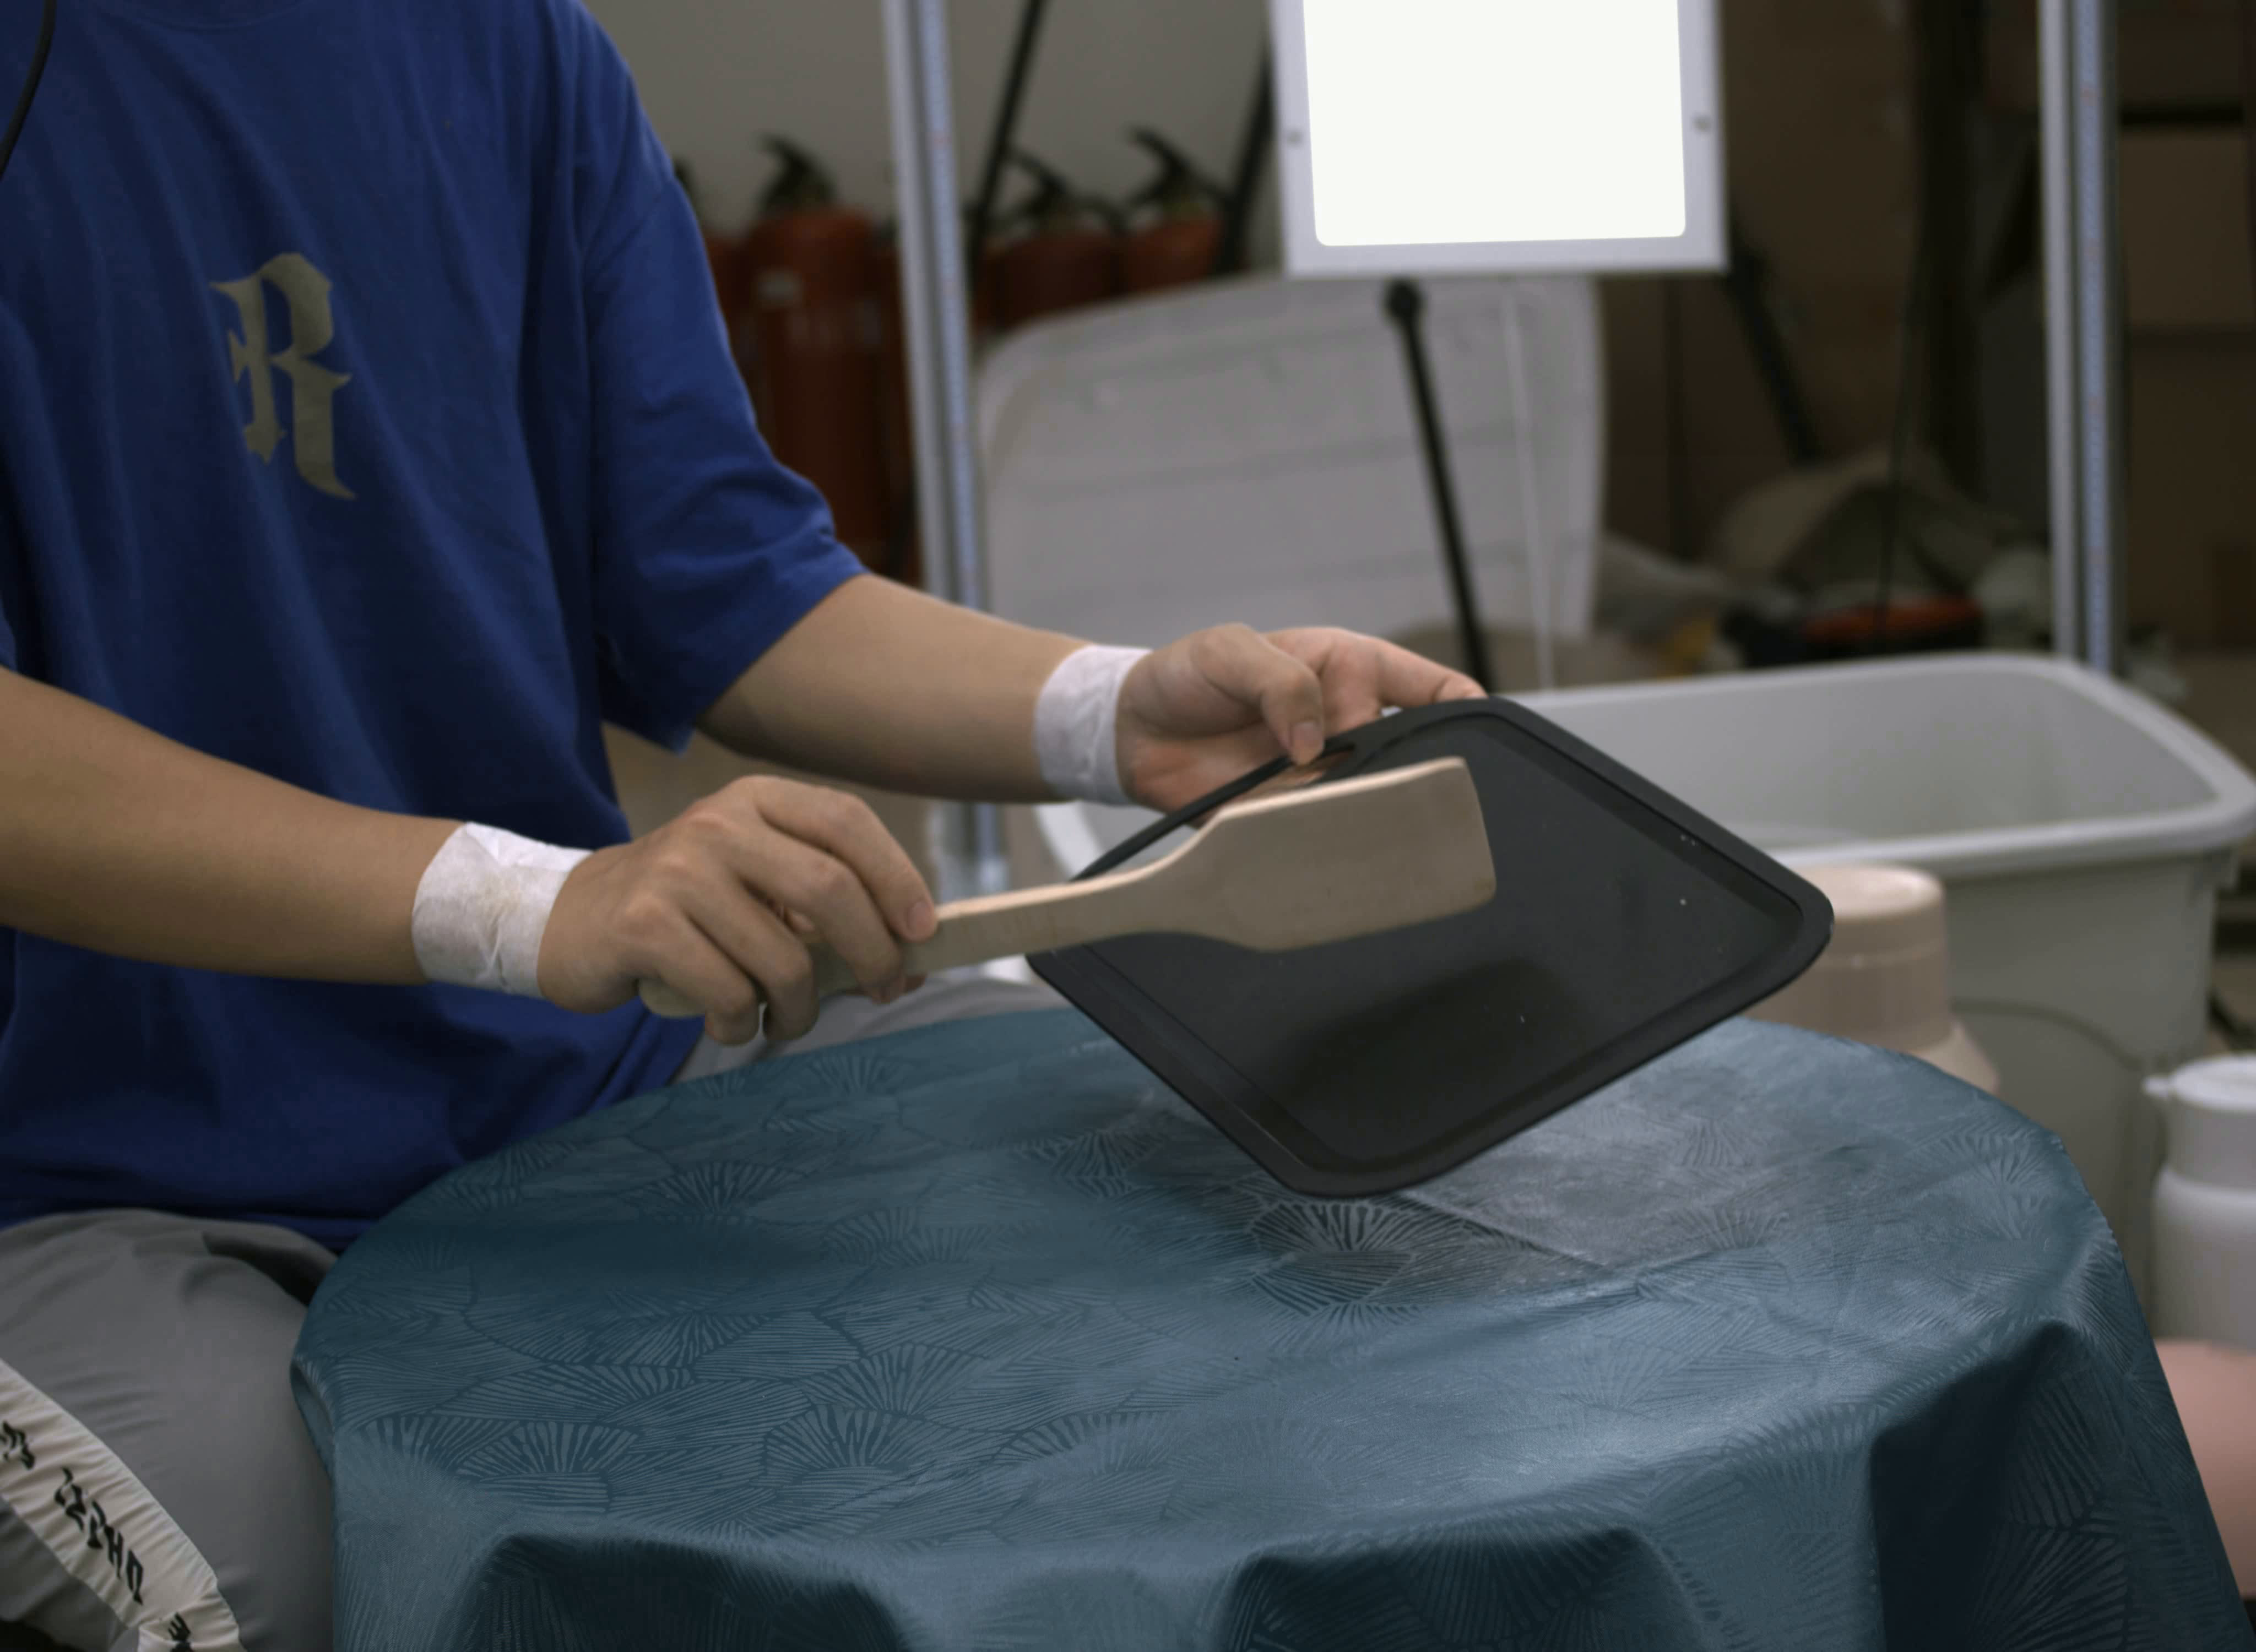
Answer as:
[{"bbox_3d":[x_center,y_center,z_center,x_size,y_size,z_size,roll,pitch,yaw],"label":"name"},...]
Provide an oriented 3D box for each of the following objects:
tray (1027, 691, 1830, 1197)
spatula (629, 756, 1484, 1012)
[{"bbox_3d":[0.093,0.032,1.903,0.209,0.010,0.329,-28,26,-11],"label":"tray"},{"bbox_3d":[-0.026,0.027,1.857,0.294,0.072,0.010,-11,45,8],"label":"spatula"}]
